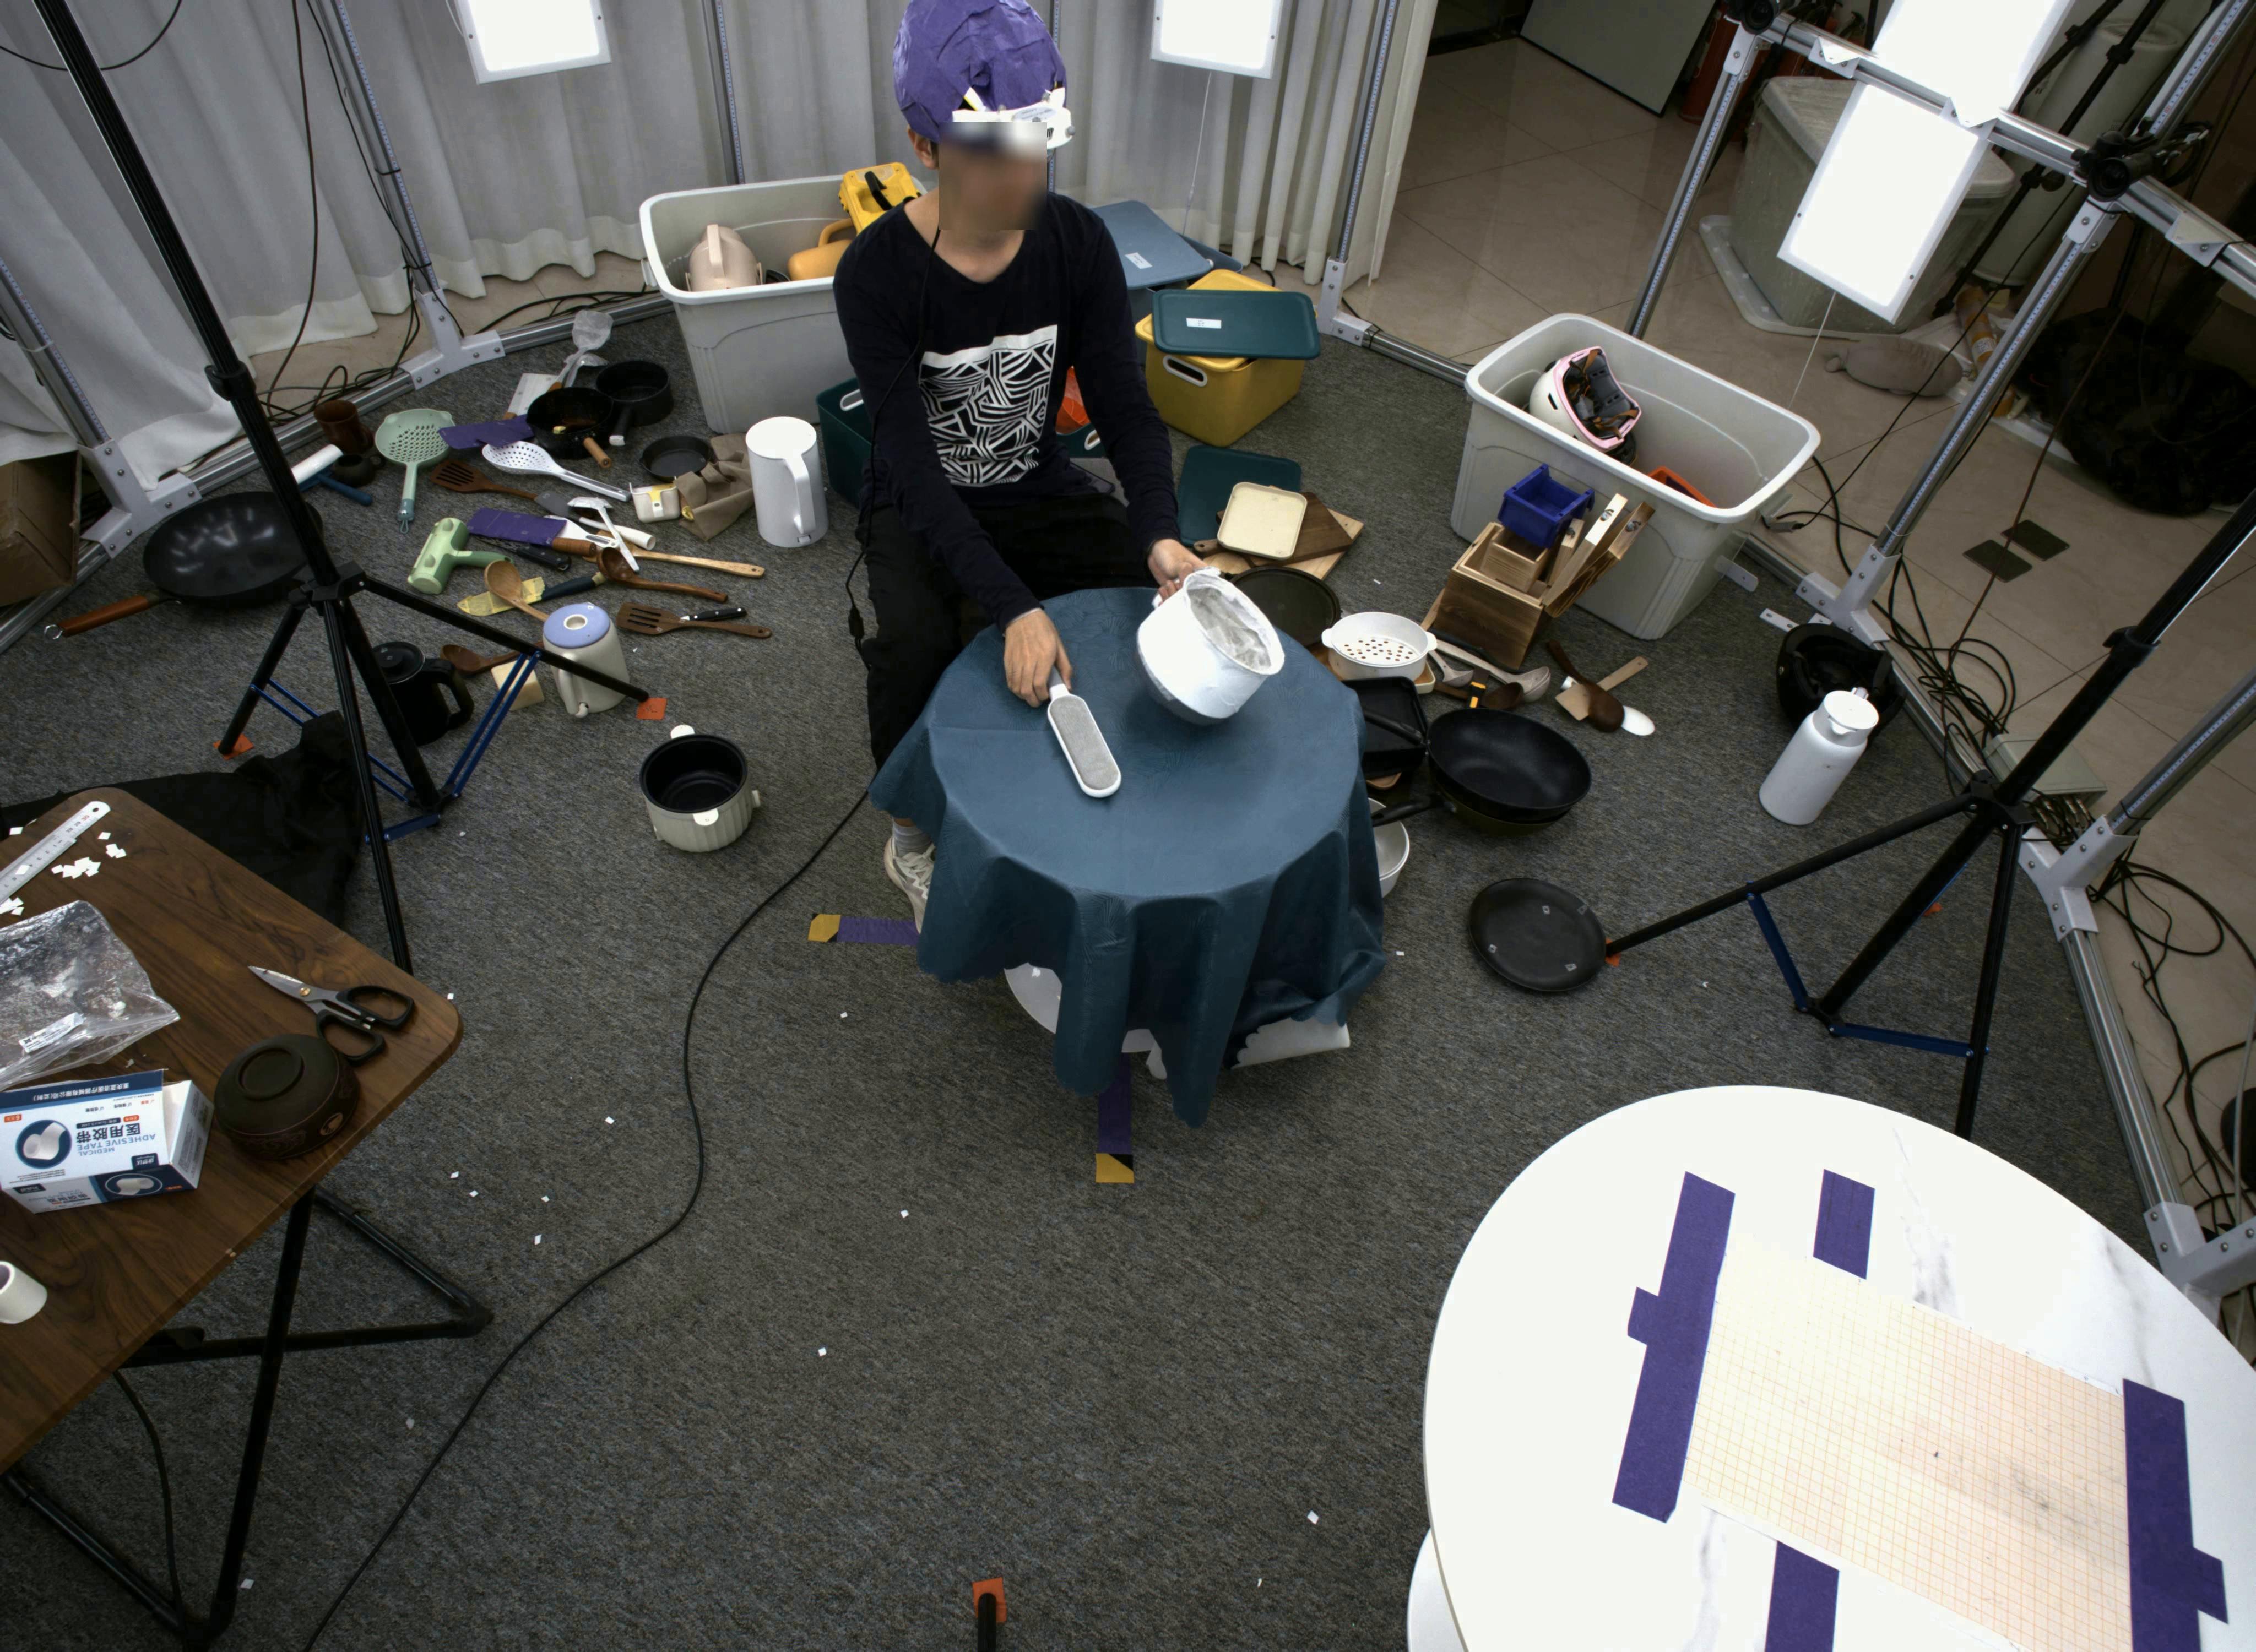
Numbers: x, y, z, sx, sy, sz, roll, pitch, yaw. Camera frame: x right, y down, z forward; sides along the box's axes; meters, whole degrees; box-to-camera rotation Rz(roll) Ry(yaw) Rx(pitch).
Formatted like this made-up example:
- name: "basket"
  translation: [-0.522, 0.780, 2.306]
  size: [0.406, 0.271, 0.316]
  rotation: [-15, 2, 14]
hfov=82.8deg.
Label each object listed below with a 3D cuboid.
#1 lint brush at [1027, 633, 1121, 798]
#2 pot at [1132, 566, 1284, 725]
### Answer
- name: "lint brush"
  translation: [-0.081, -0.159, 1.773]
  size: [0.060, 0.020, 0.316]
  rotation: [-21, 55, -6]
- name: "pot"
  translation: [0.099, -0.260, 1.764]
  size: [0.176, 0.135, 0.239]
  rotation: [18, 44, -38]
